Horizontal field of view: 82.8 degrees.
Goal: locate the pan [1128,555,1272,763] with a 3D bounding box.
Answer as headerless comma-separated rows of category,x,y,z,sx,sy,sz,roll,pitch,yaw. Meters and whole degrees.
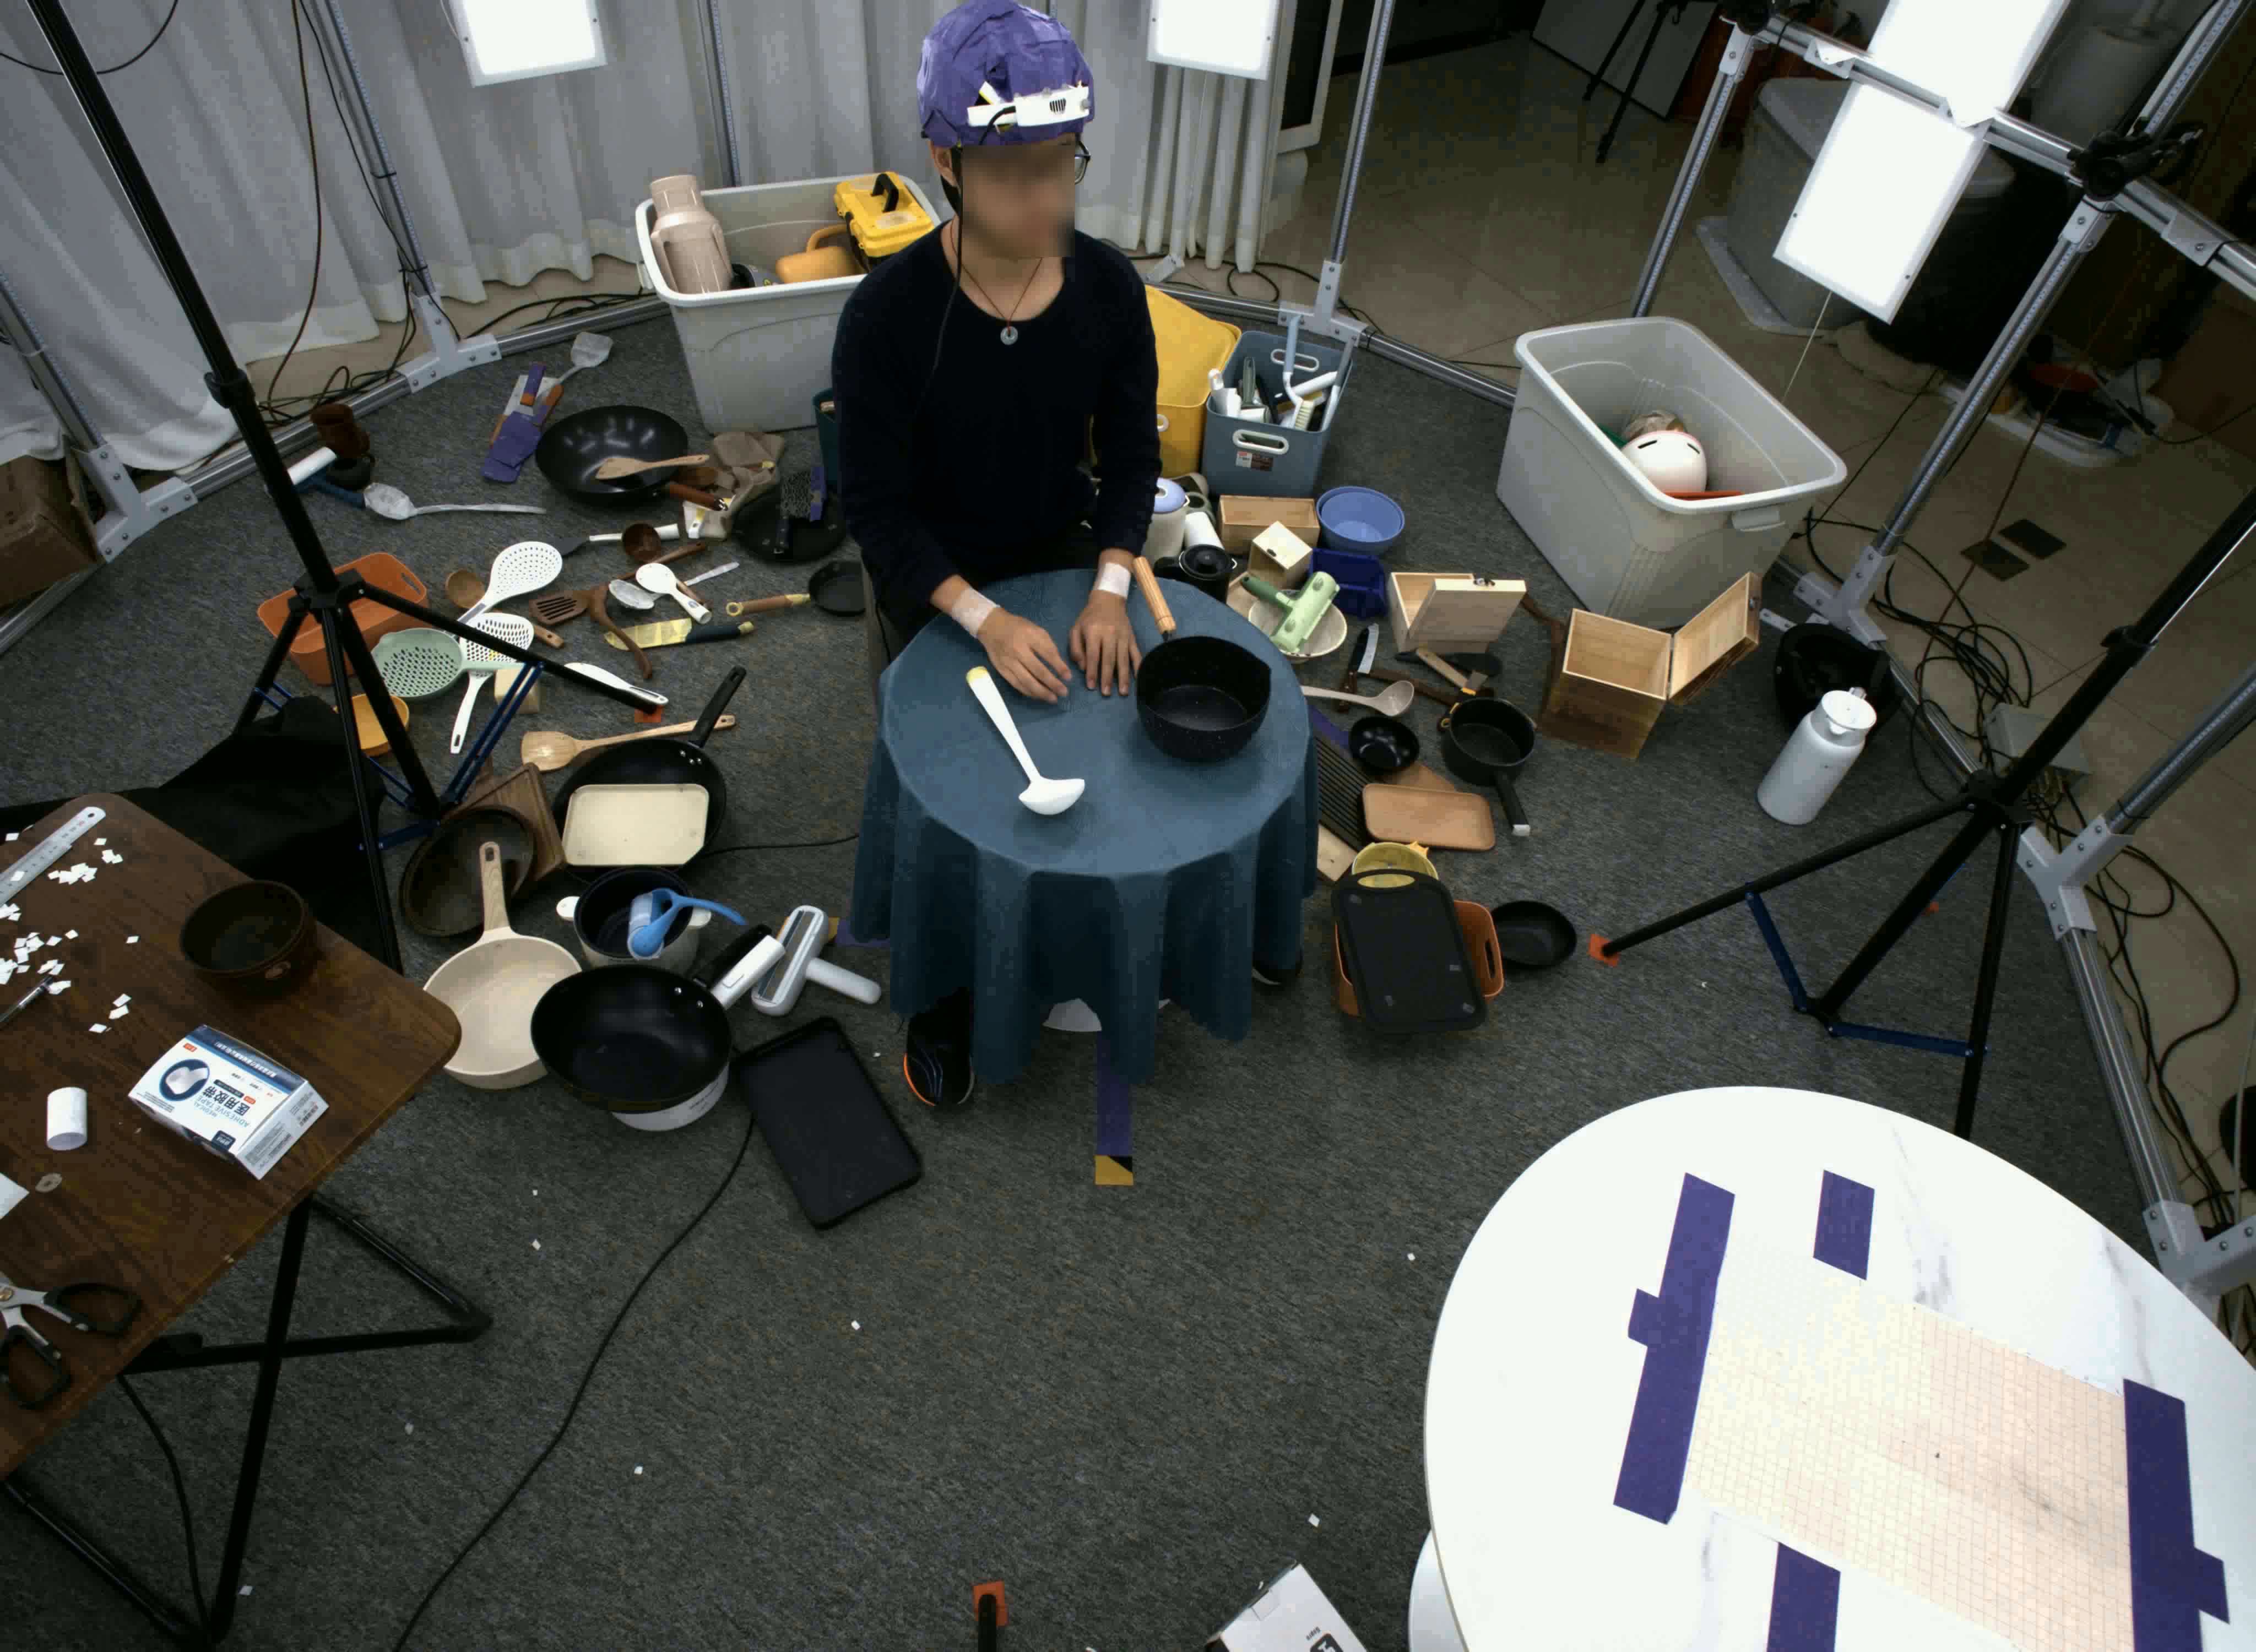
pan,0.071,-0.235,1.808,0.207,0.105,0.351,-16,53,-16

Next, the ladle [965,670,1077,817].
ladle,-0.156,-0.119,1.720,0.090,0.068,0.300,-21,53,-12
